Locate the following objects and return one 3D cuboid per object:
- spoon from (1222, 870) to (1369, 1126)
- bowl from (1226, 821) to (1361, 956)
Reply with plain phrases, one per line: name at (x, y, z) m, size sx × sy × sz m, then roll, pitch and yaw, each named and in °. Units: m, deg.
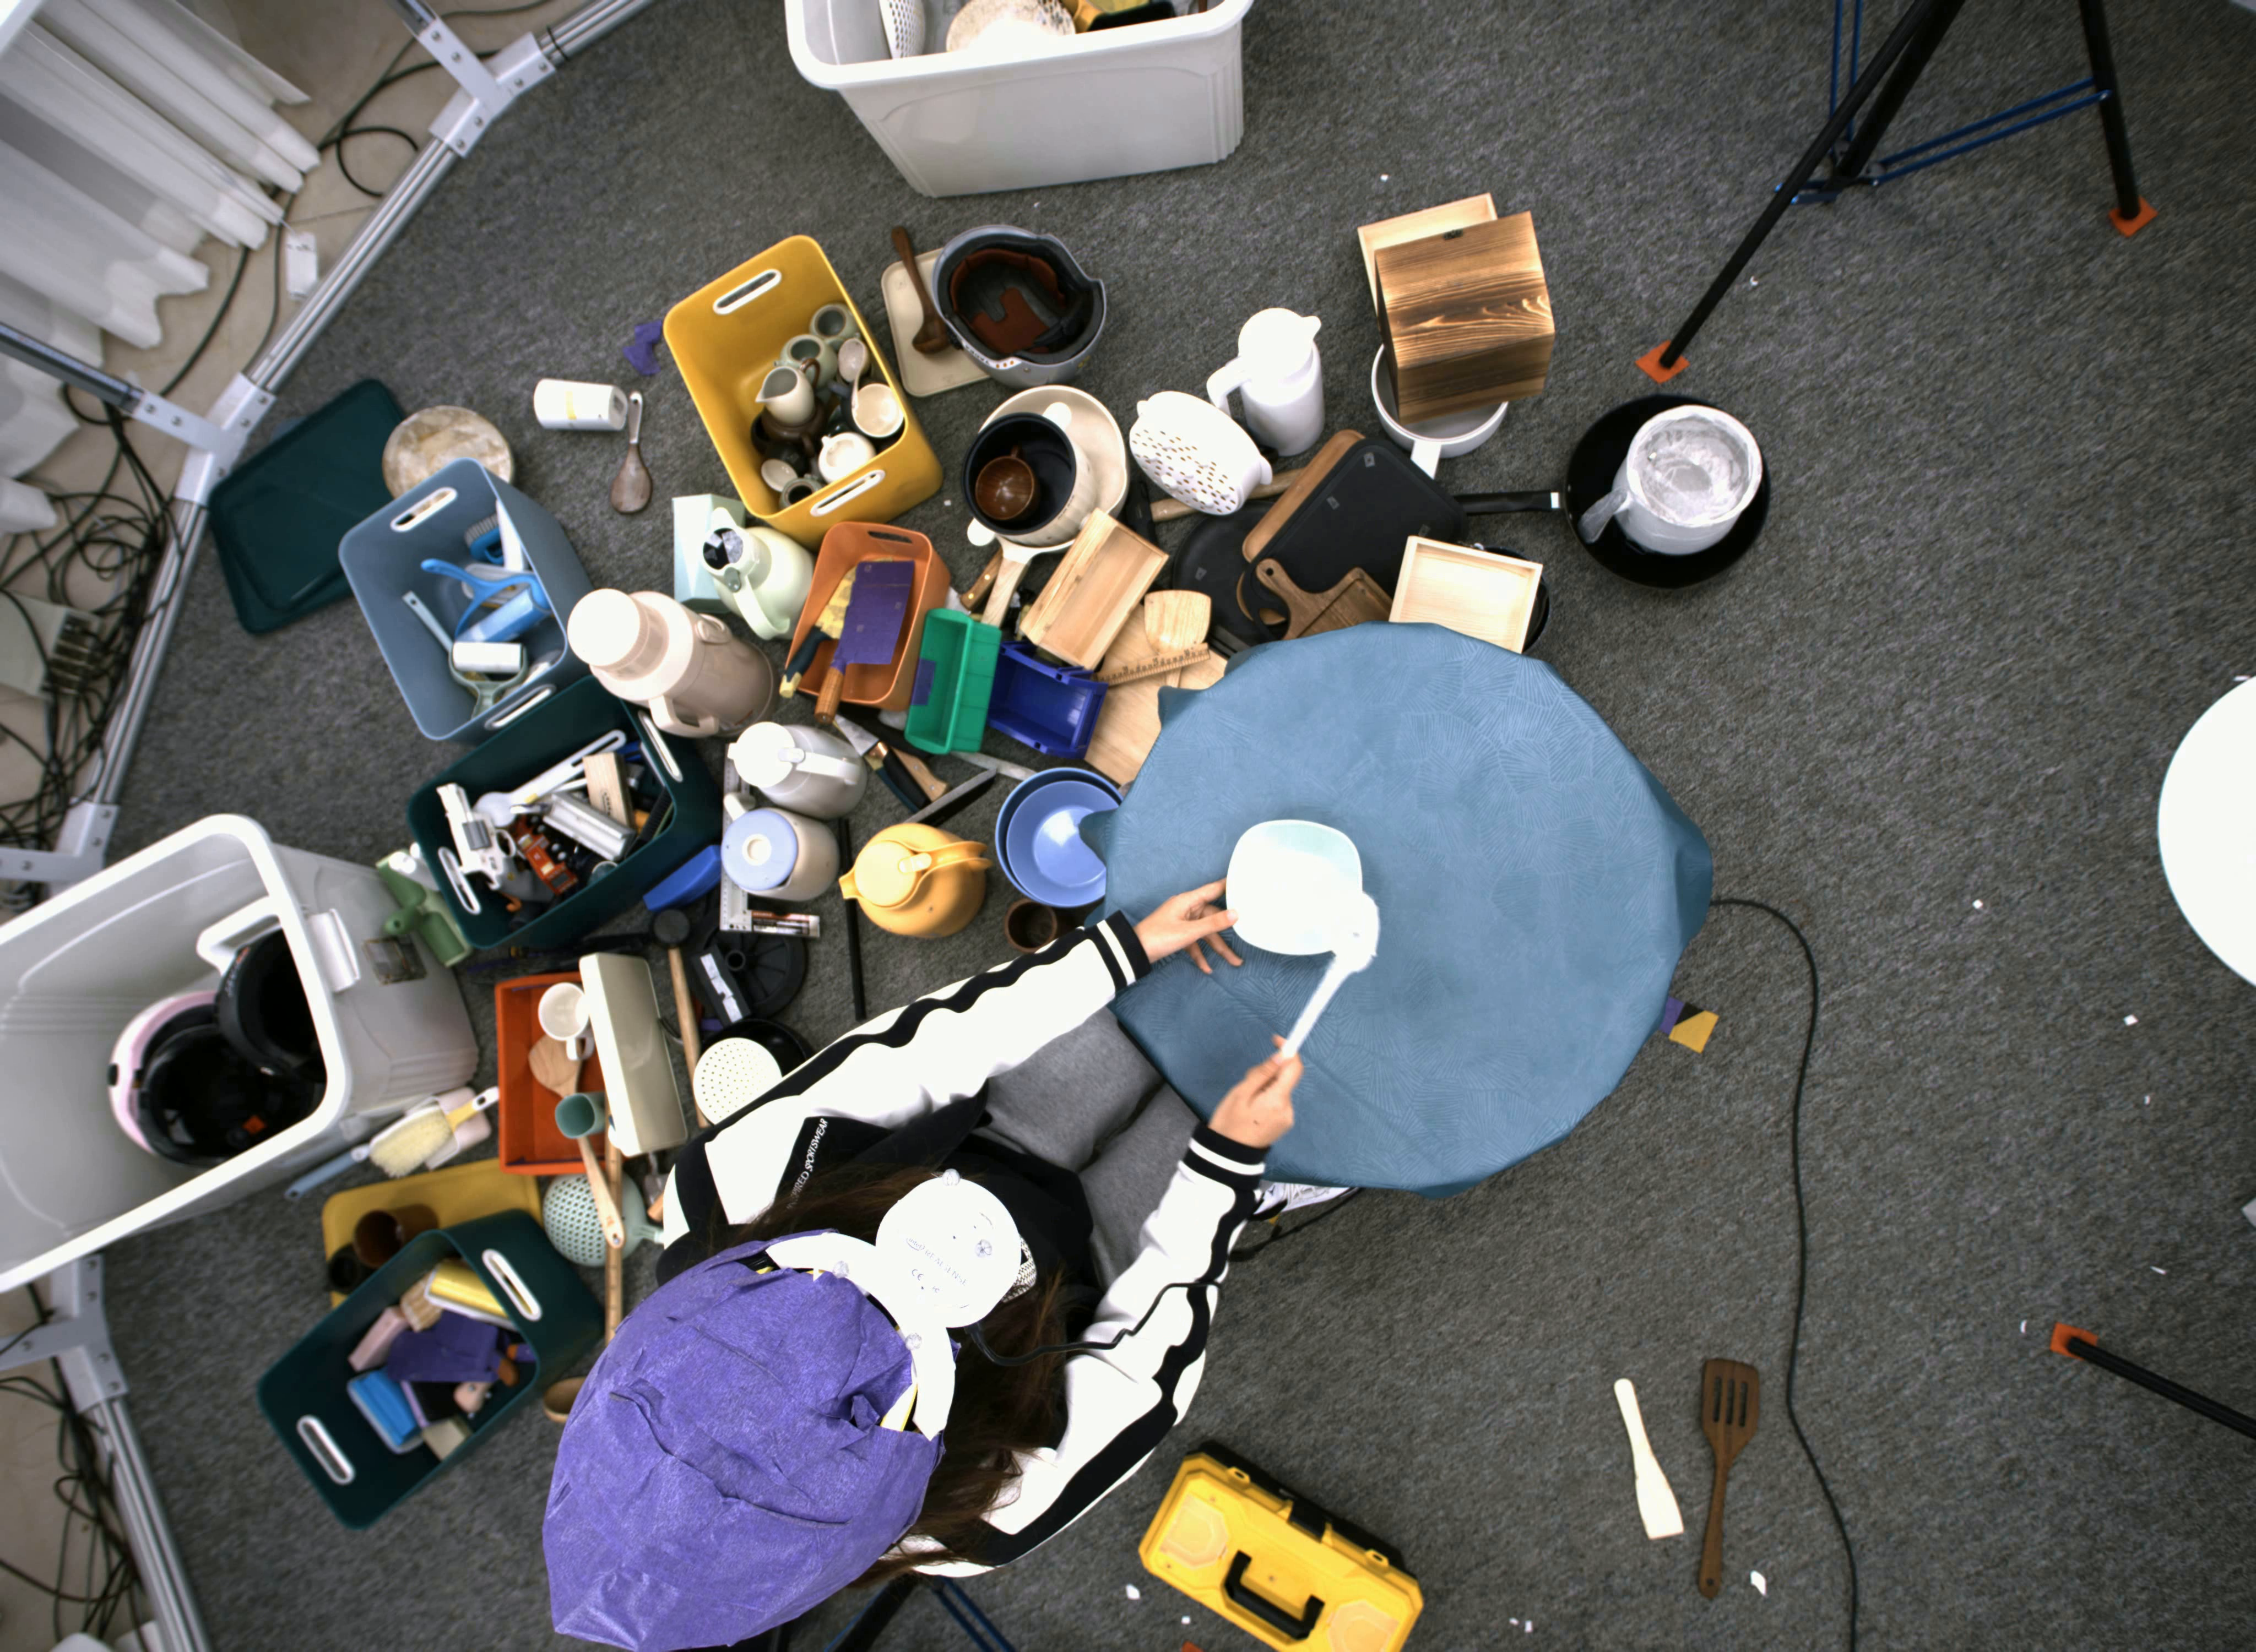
spoon at (0.149, 0.169, 1.347) m, size 0.059 × 0.099 × 0.280 m, roll 26°, pitch 103°, yaw -32°
bowl at (0.175, 0.066, 1.452) m, size 0.152 × 0.058 × 0.151 m, roll -1°, pitch 86°, yaw 11°
